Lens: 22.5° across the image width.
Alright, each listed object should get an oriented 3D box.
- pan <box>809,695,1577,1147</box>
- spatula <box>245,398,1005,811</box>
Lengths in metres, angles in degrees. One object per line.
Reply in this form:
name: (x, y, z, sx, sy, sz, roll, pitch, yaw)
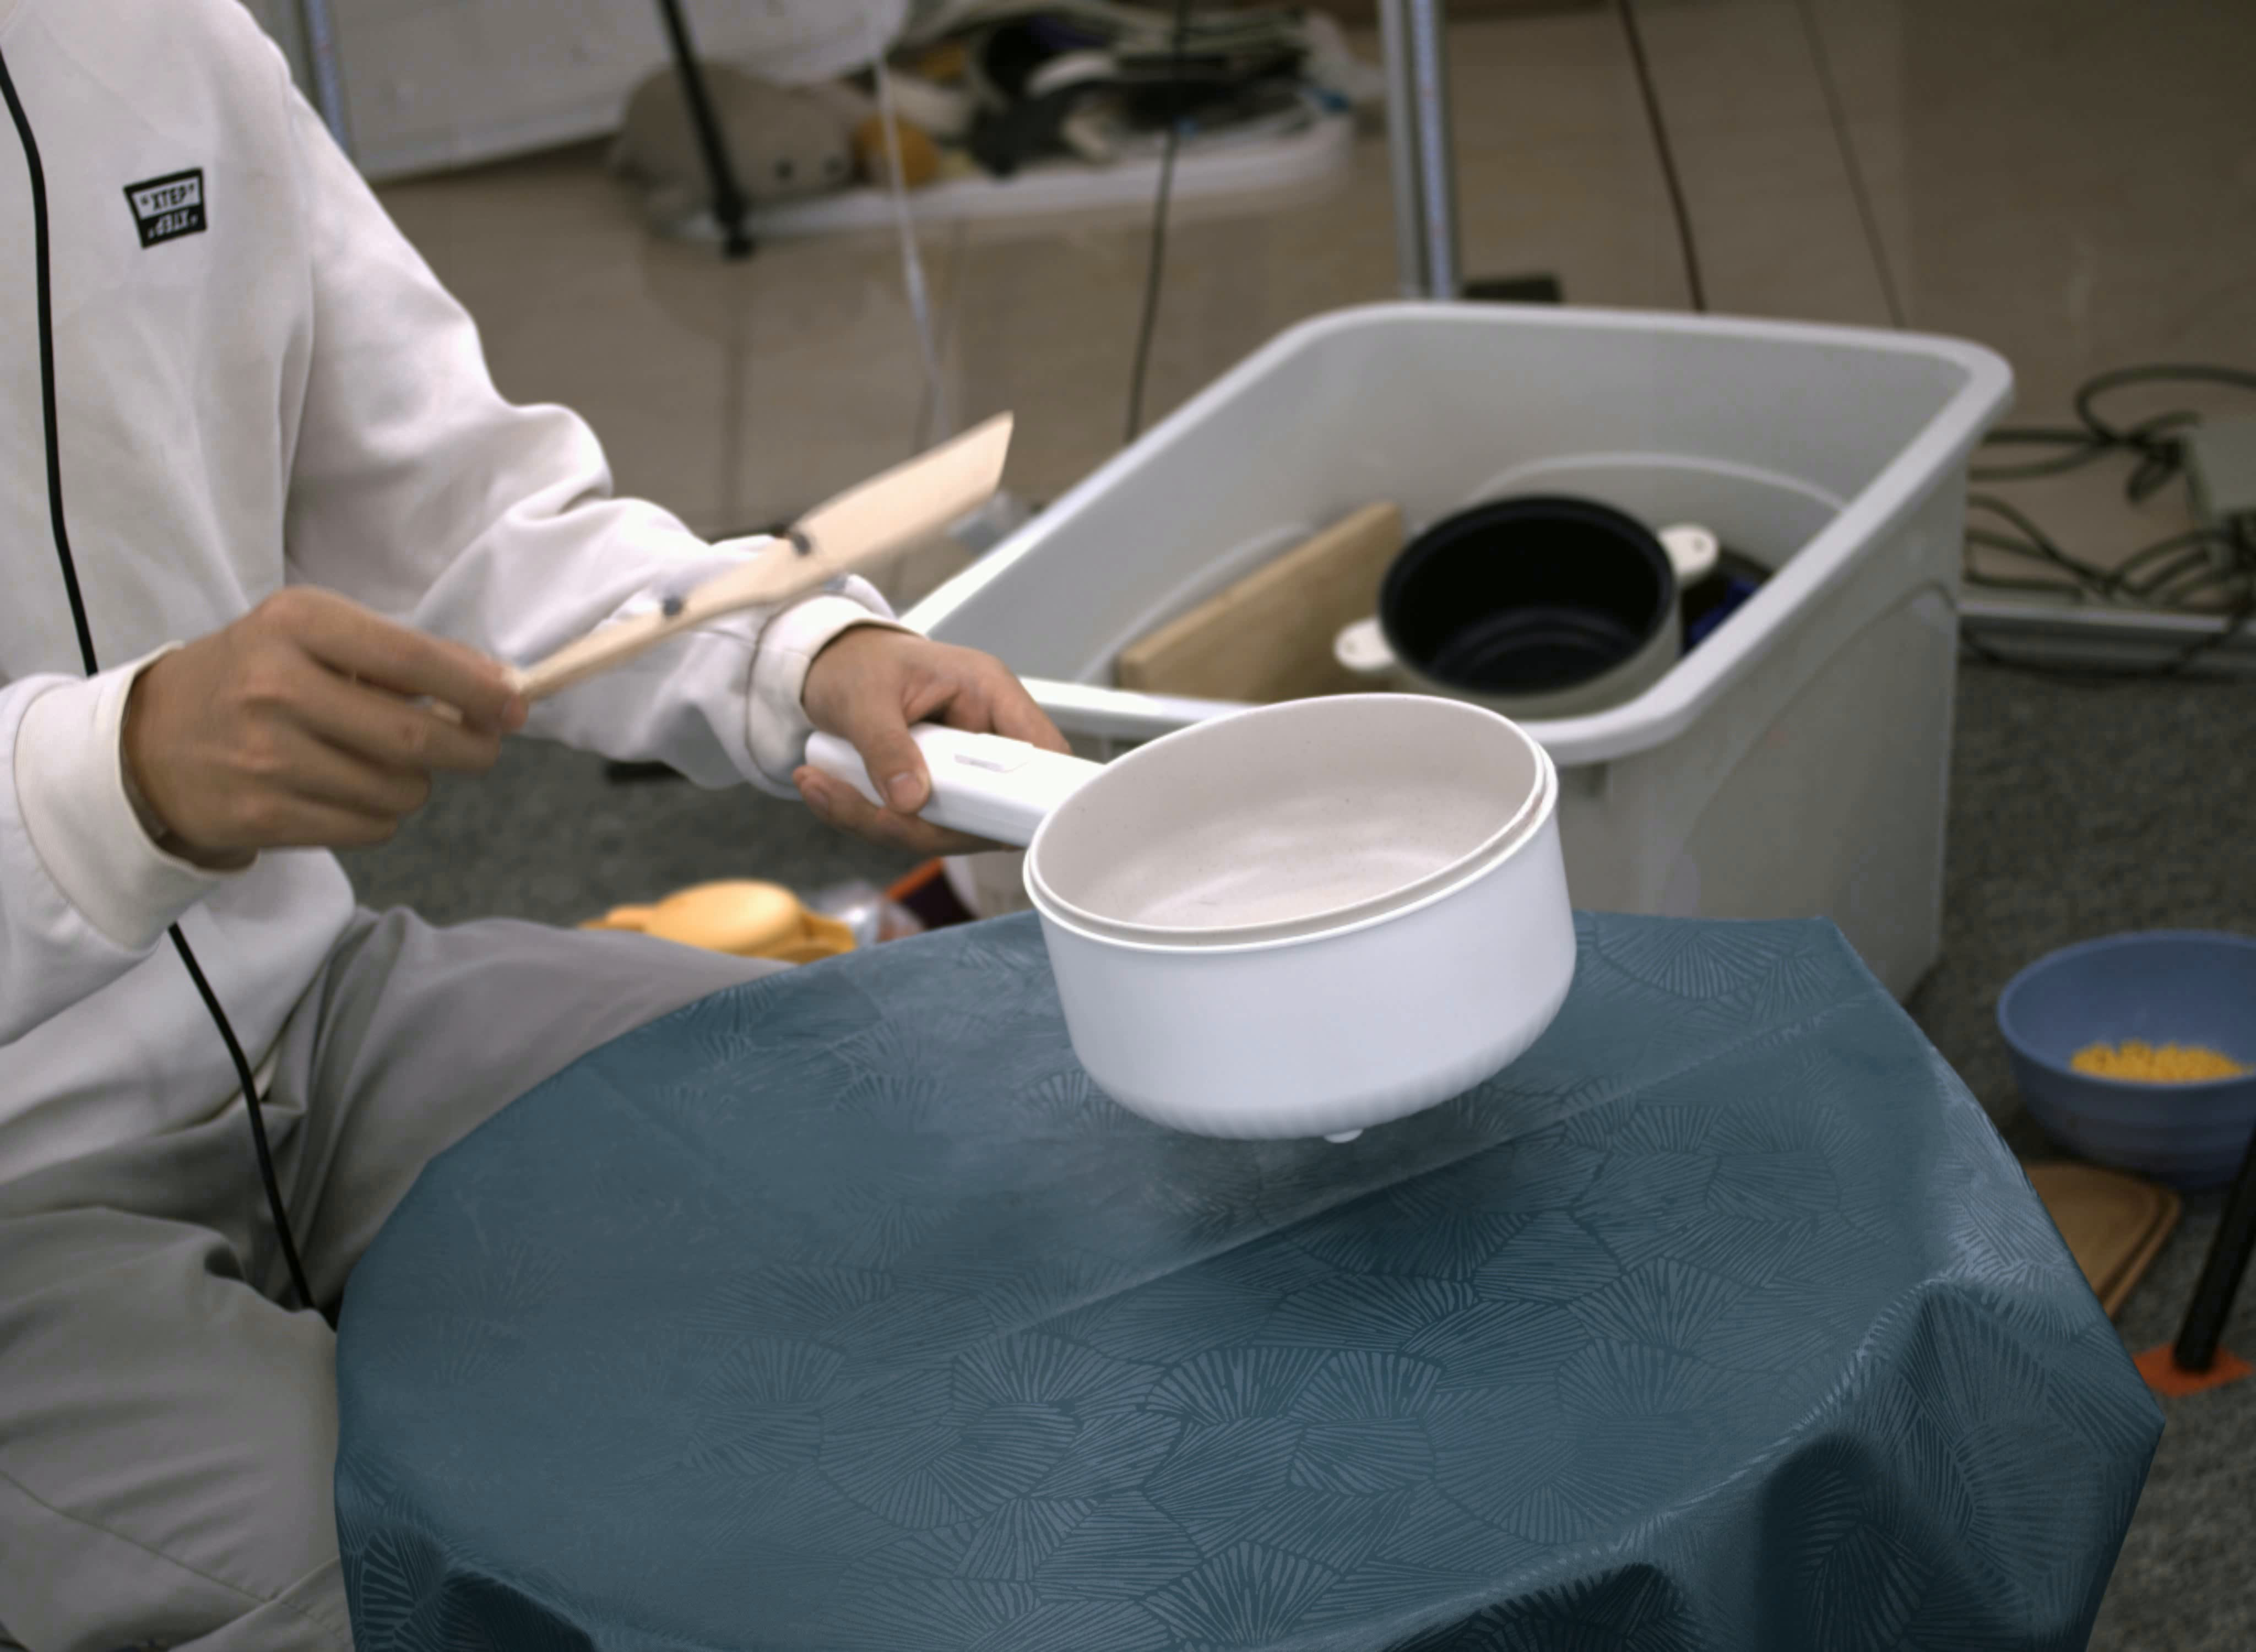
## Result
pan: (0.014, 0.028, 2.172, 0.353, 0.103, 0.199, 12, 36, 44)
spatula: (-0.170, -0.068, 1.883, 0.294, 0.011, 0.071, -24, 22, 15)
